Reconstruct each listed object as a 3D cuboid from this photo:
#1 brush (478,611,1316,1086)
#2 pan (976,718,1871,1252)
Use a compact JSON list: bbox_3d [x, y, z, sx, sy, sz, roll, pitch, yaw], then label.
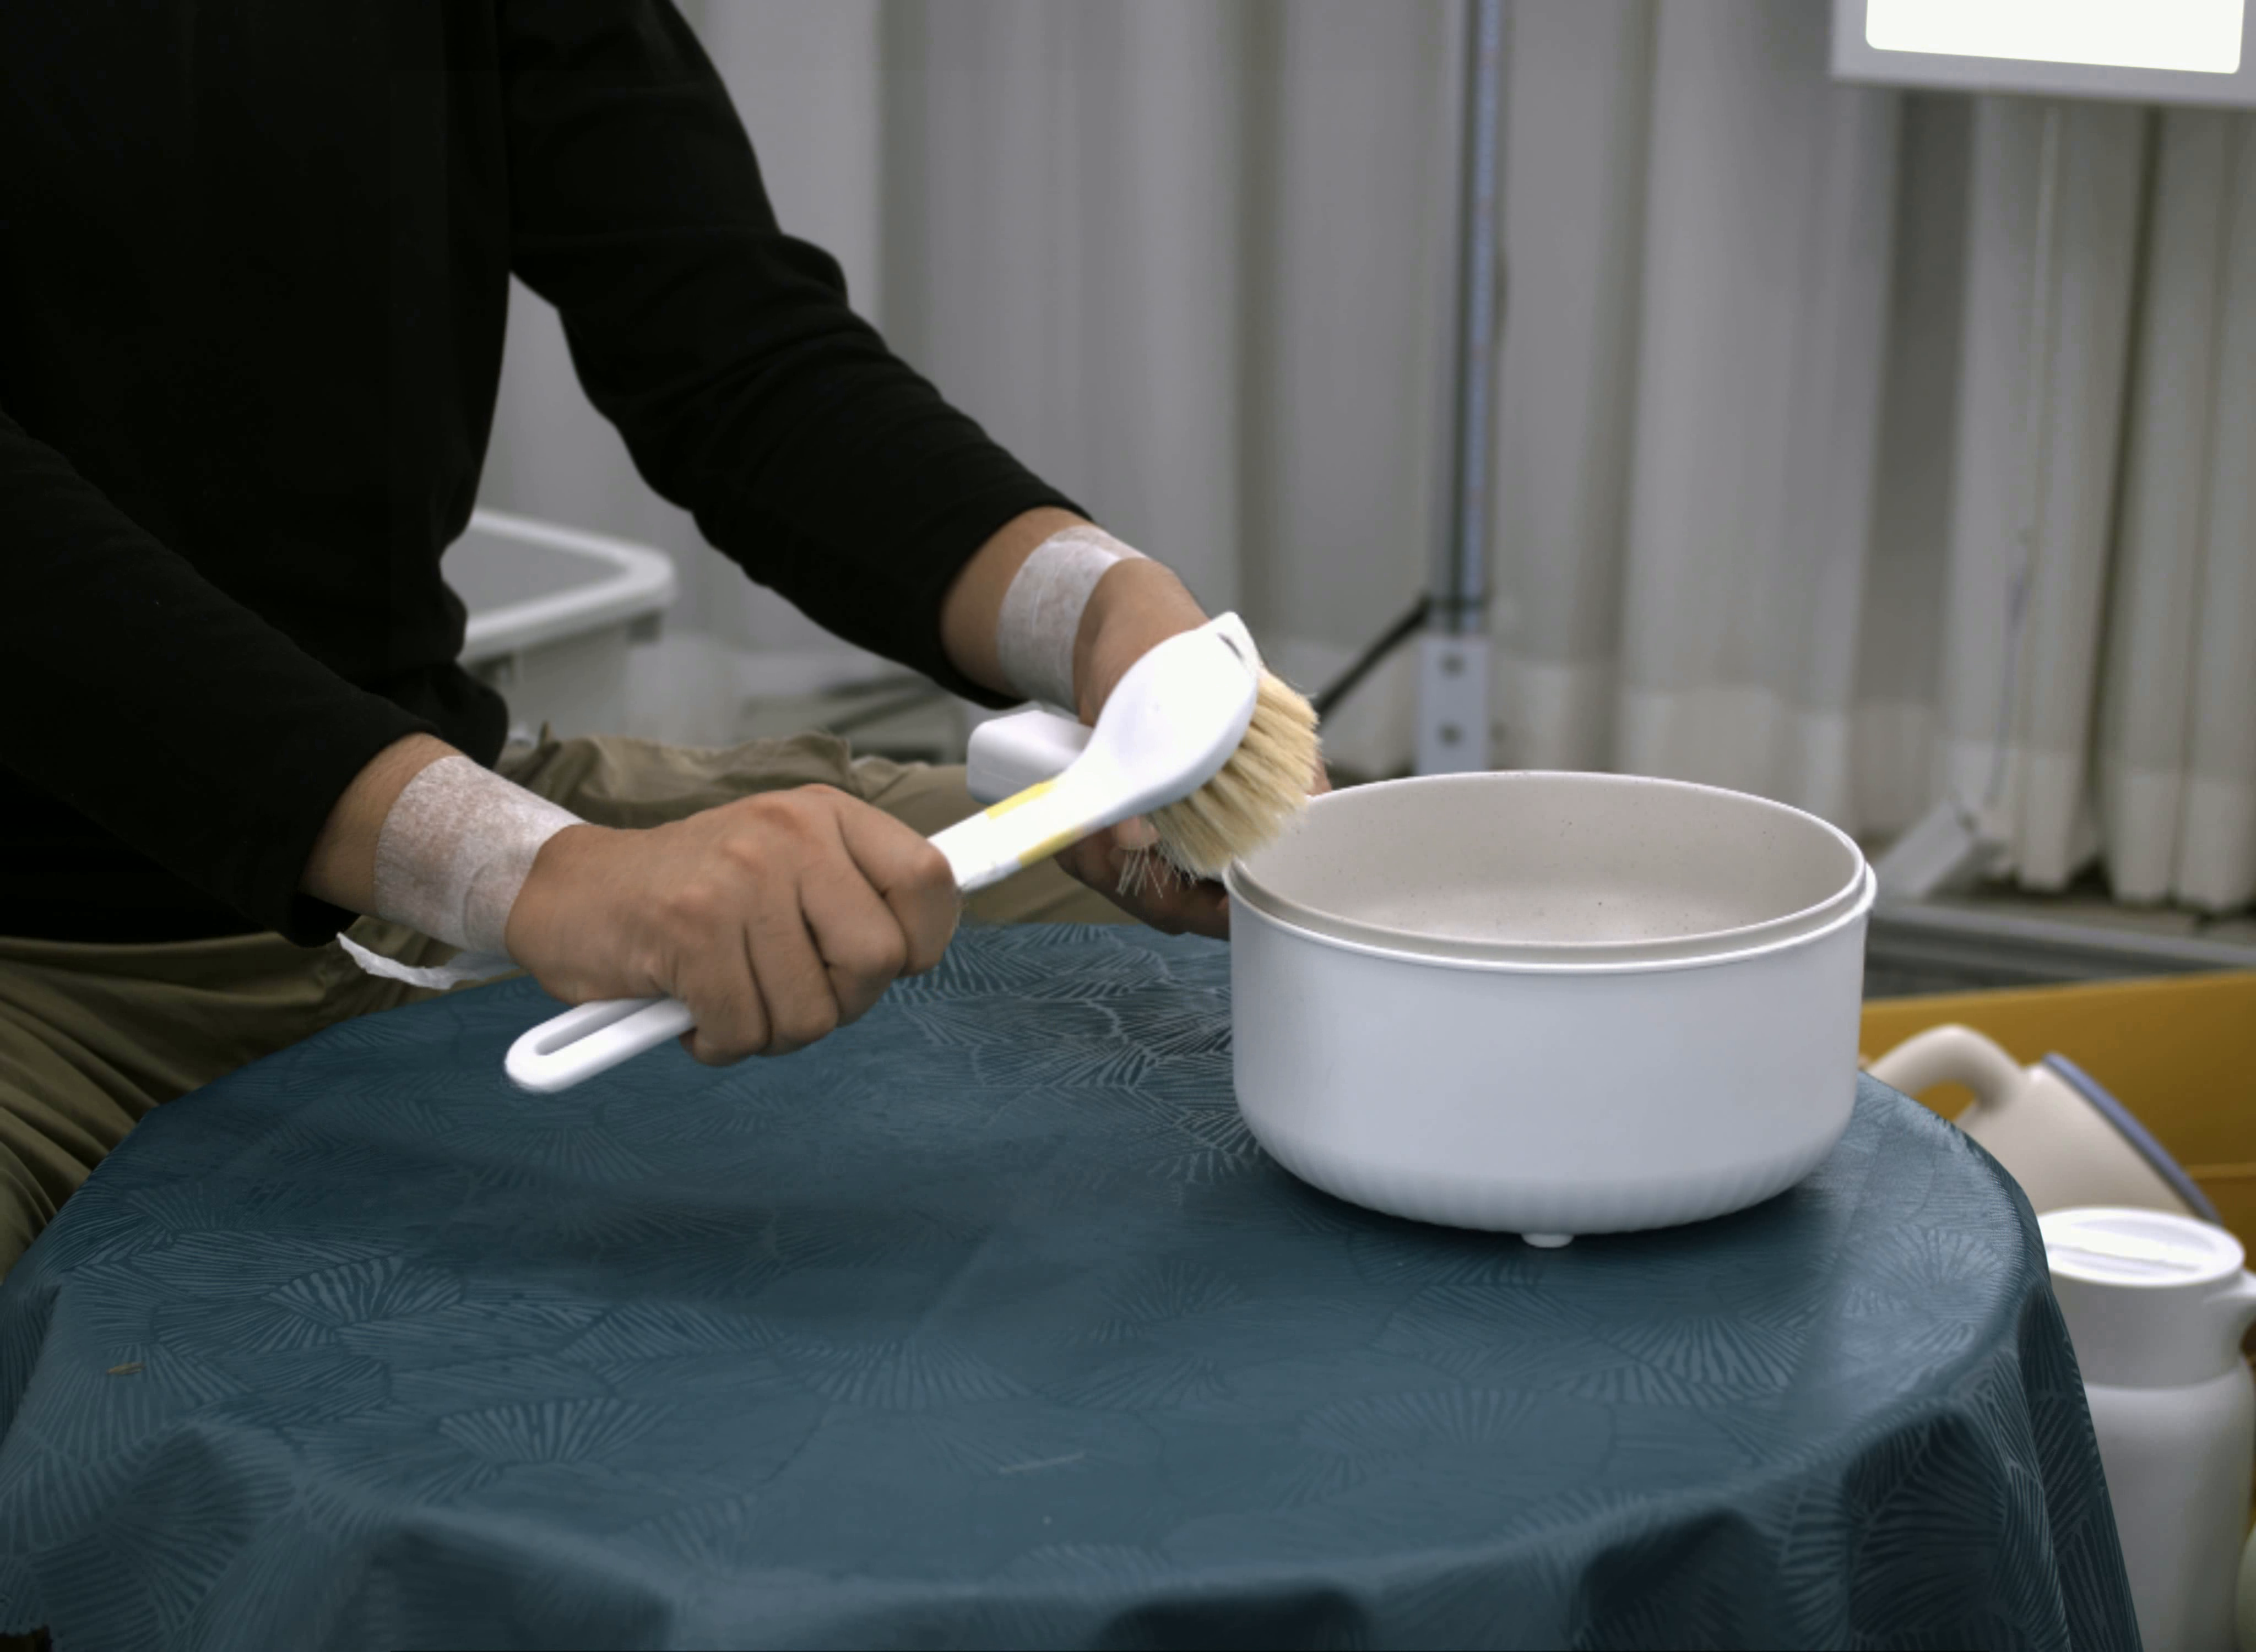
[{"bbox_3d":[-0.065,0.023,1.558,0.266,0.057,0.067,-30,32,-4],"label":"brush"},{"bbox_3d":[0.078,0.044,1.690,0.202,0.103,0.350,-15,21,-40],"label":"pan"}]
